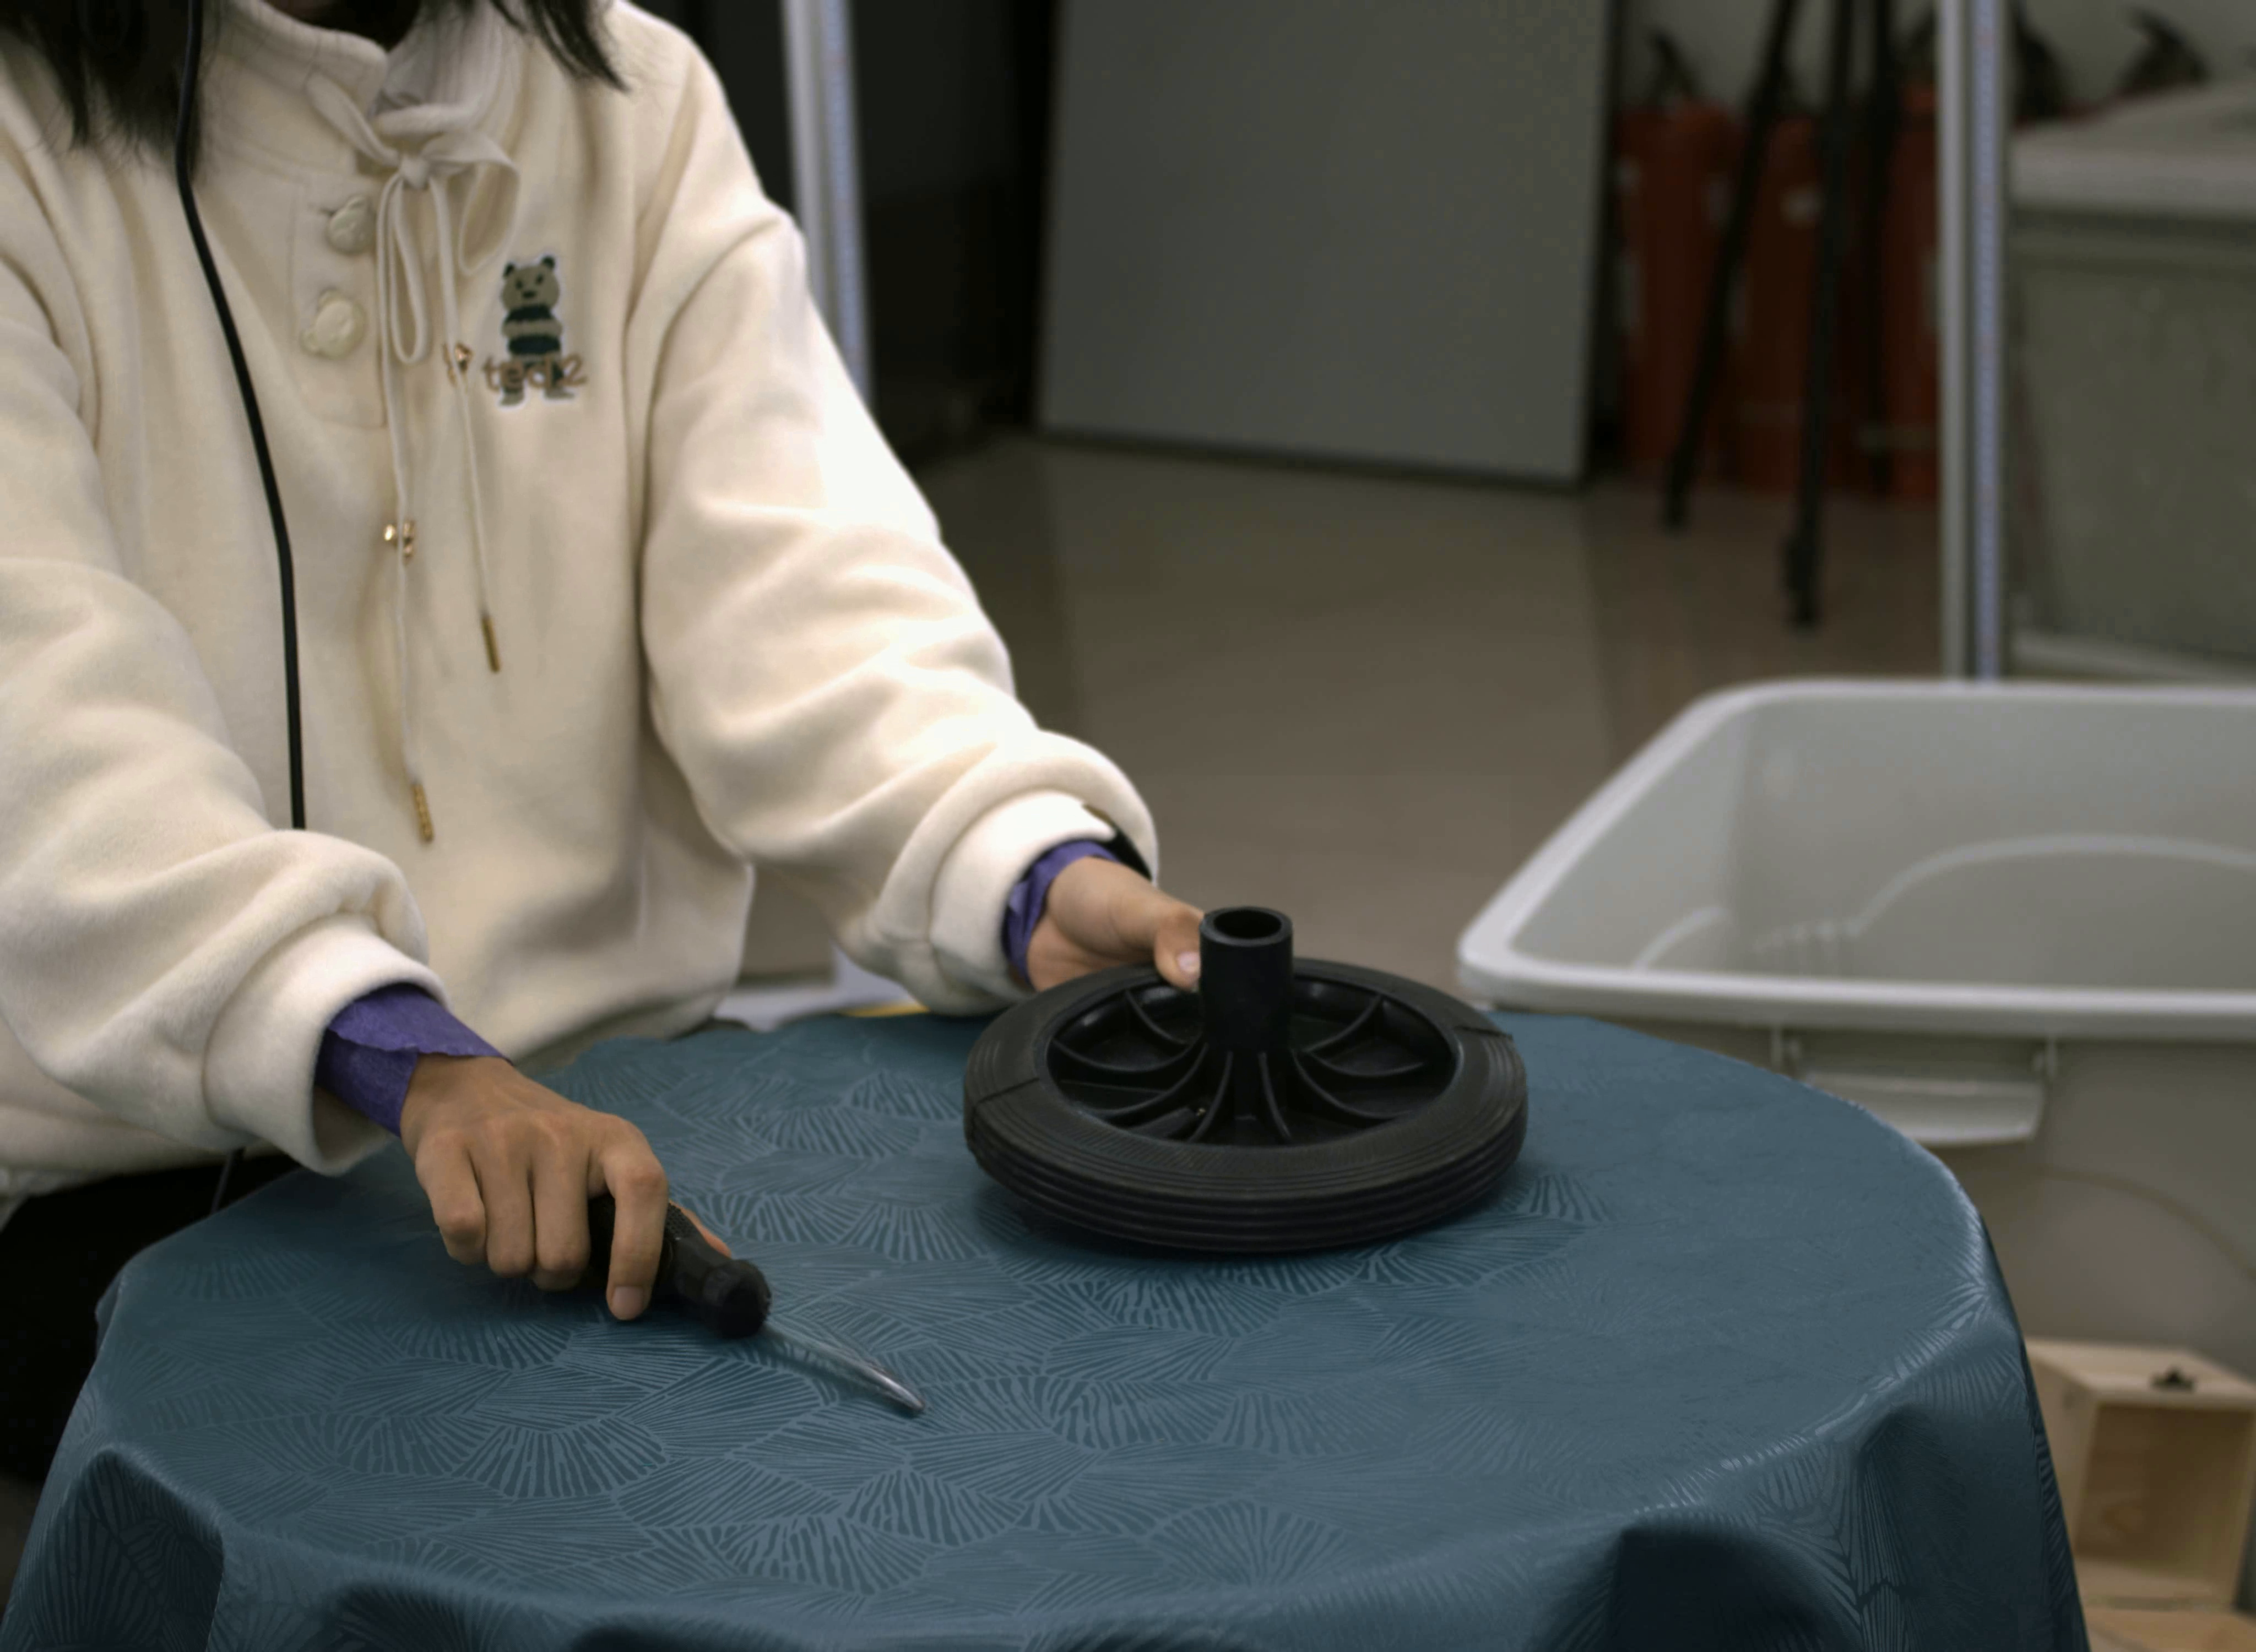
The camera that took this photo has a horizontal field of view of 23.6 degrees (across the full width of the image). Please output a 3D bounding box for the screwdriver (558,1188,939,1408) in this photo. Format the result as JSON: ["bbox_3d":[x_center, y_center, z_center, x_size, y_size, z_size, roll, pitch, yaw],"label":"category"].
[{"bbox_3d":[-0.119,0.147,1.648,0.031,0.032,0.200,-12,18,-32],"label":"screwdriver"}]

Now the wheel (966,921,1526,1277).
[{"bbox_3d":[0.038,0.074,1.763,0.187,0.080,0.188,8,27,19],"label":"wheel"}]
